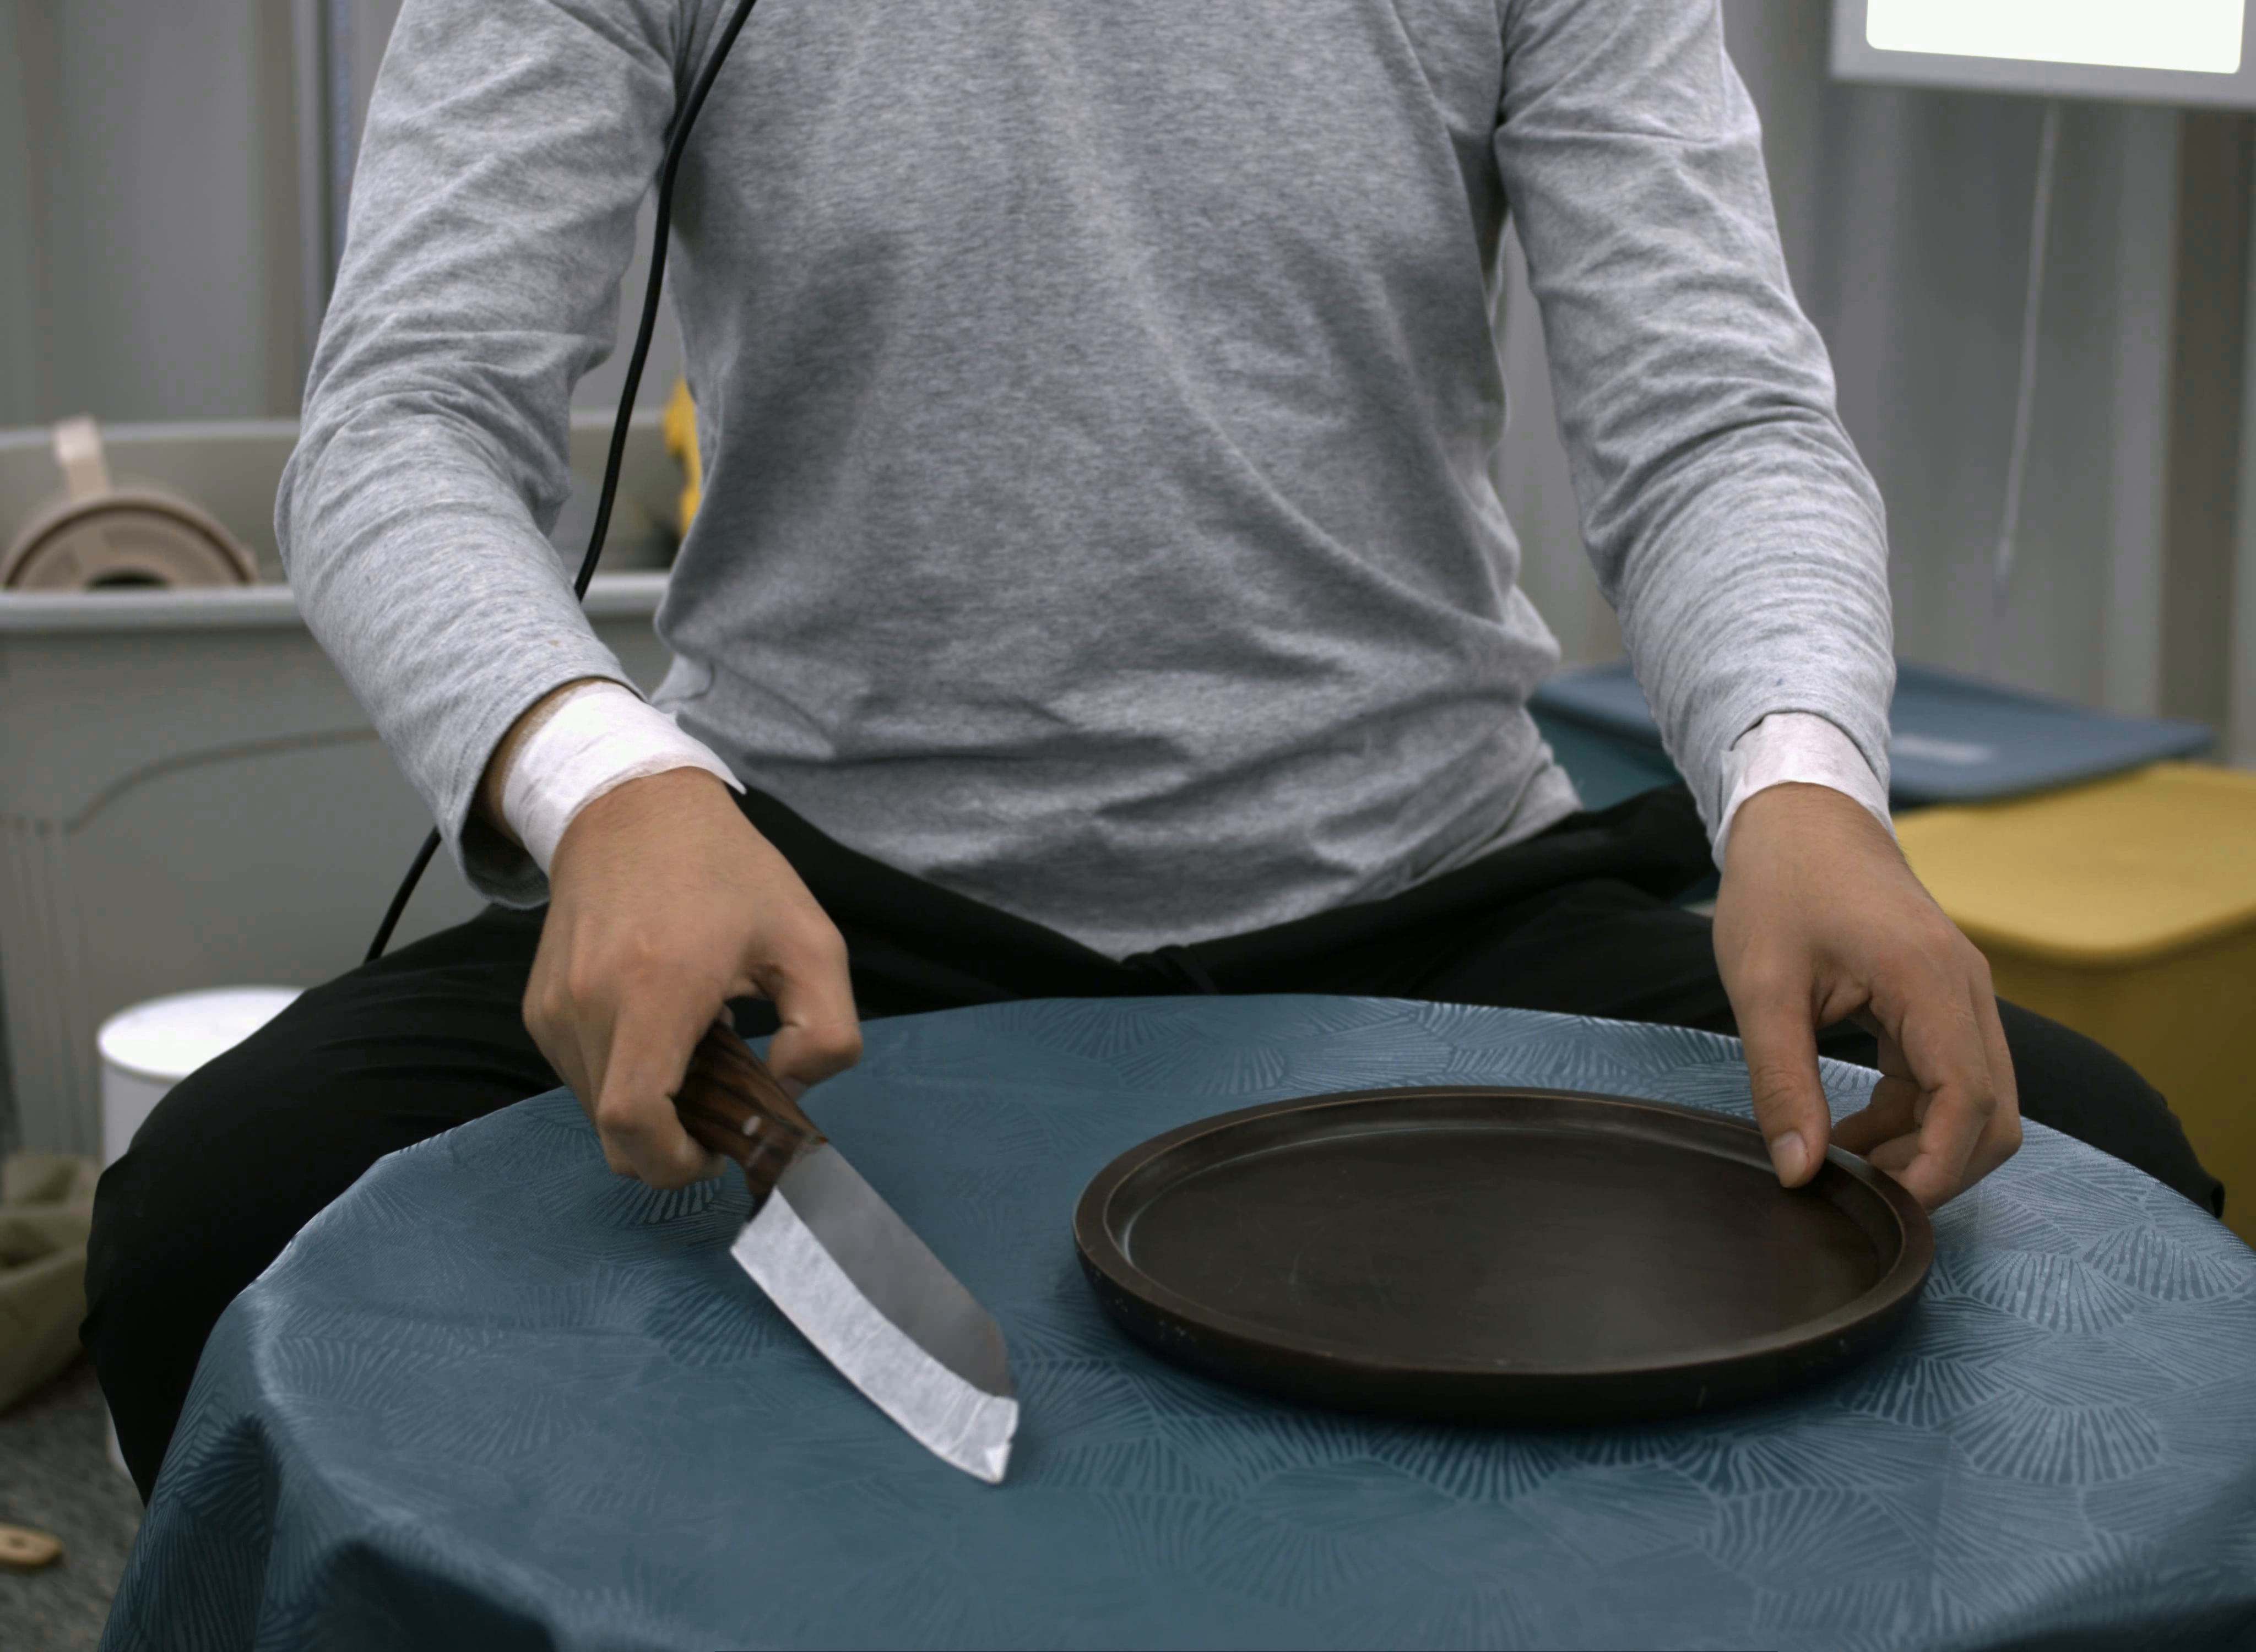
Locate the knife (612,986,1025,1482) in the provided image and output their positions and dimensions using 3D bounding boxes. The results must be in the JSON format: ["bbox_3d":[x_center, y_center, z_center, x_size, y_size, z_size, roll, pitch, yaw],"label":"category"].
[{"bbox_3d":[-0.090,0.113,1.508,0.020,0.050,0.285,36,4,-35],"label":"knife"}]

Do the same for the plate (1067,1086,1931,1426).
[{"bbox_3d":[0.108,0.123,1.543,0.254,0.029,0.253,-1,15,1],"label":"plate"}]
